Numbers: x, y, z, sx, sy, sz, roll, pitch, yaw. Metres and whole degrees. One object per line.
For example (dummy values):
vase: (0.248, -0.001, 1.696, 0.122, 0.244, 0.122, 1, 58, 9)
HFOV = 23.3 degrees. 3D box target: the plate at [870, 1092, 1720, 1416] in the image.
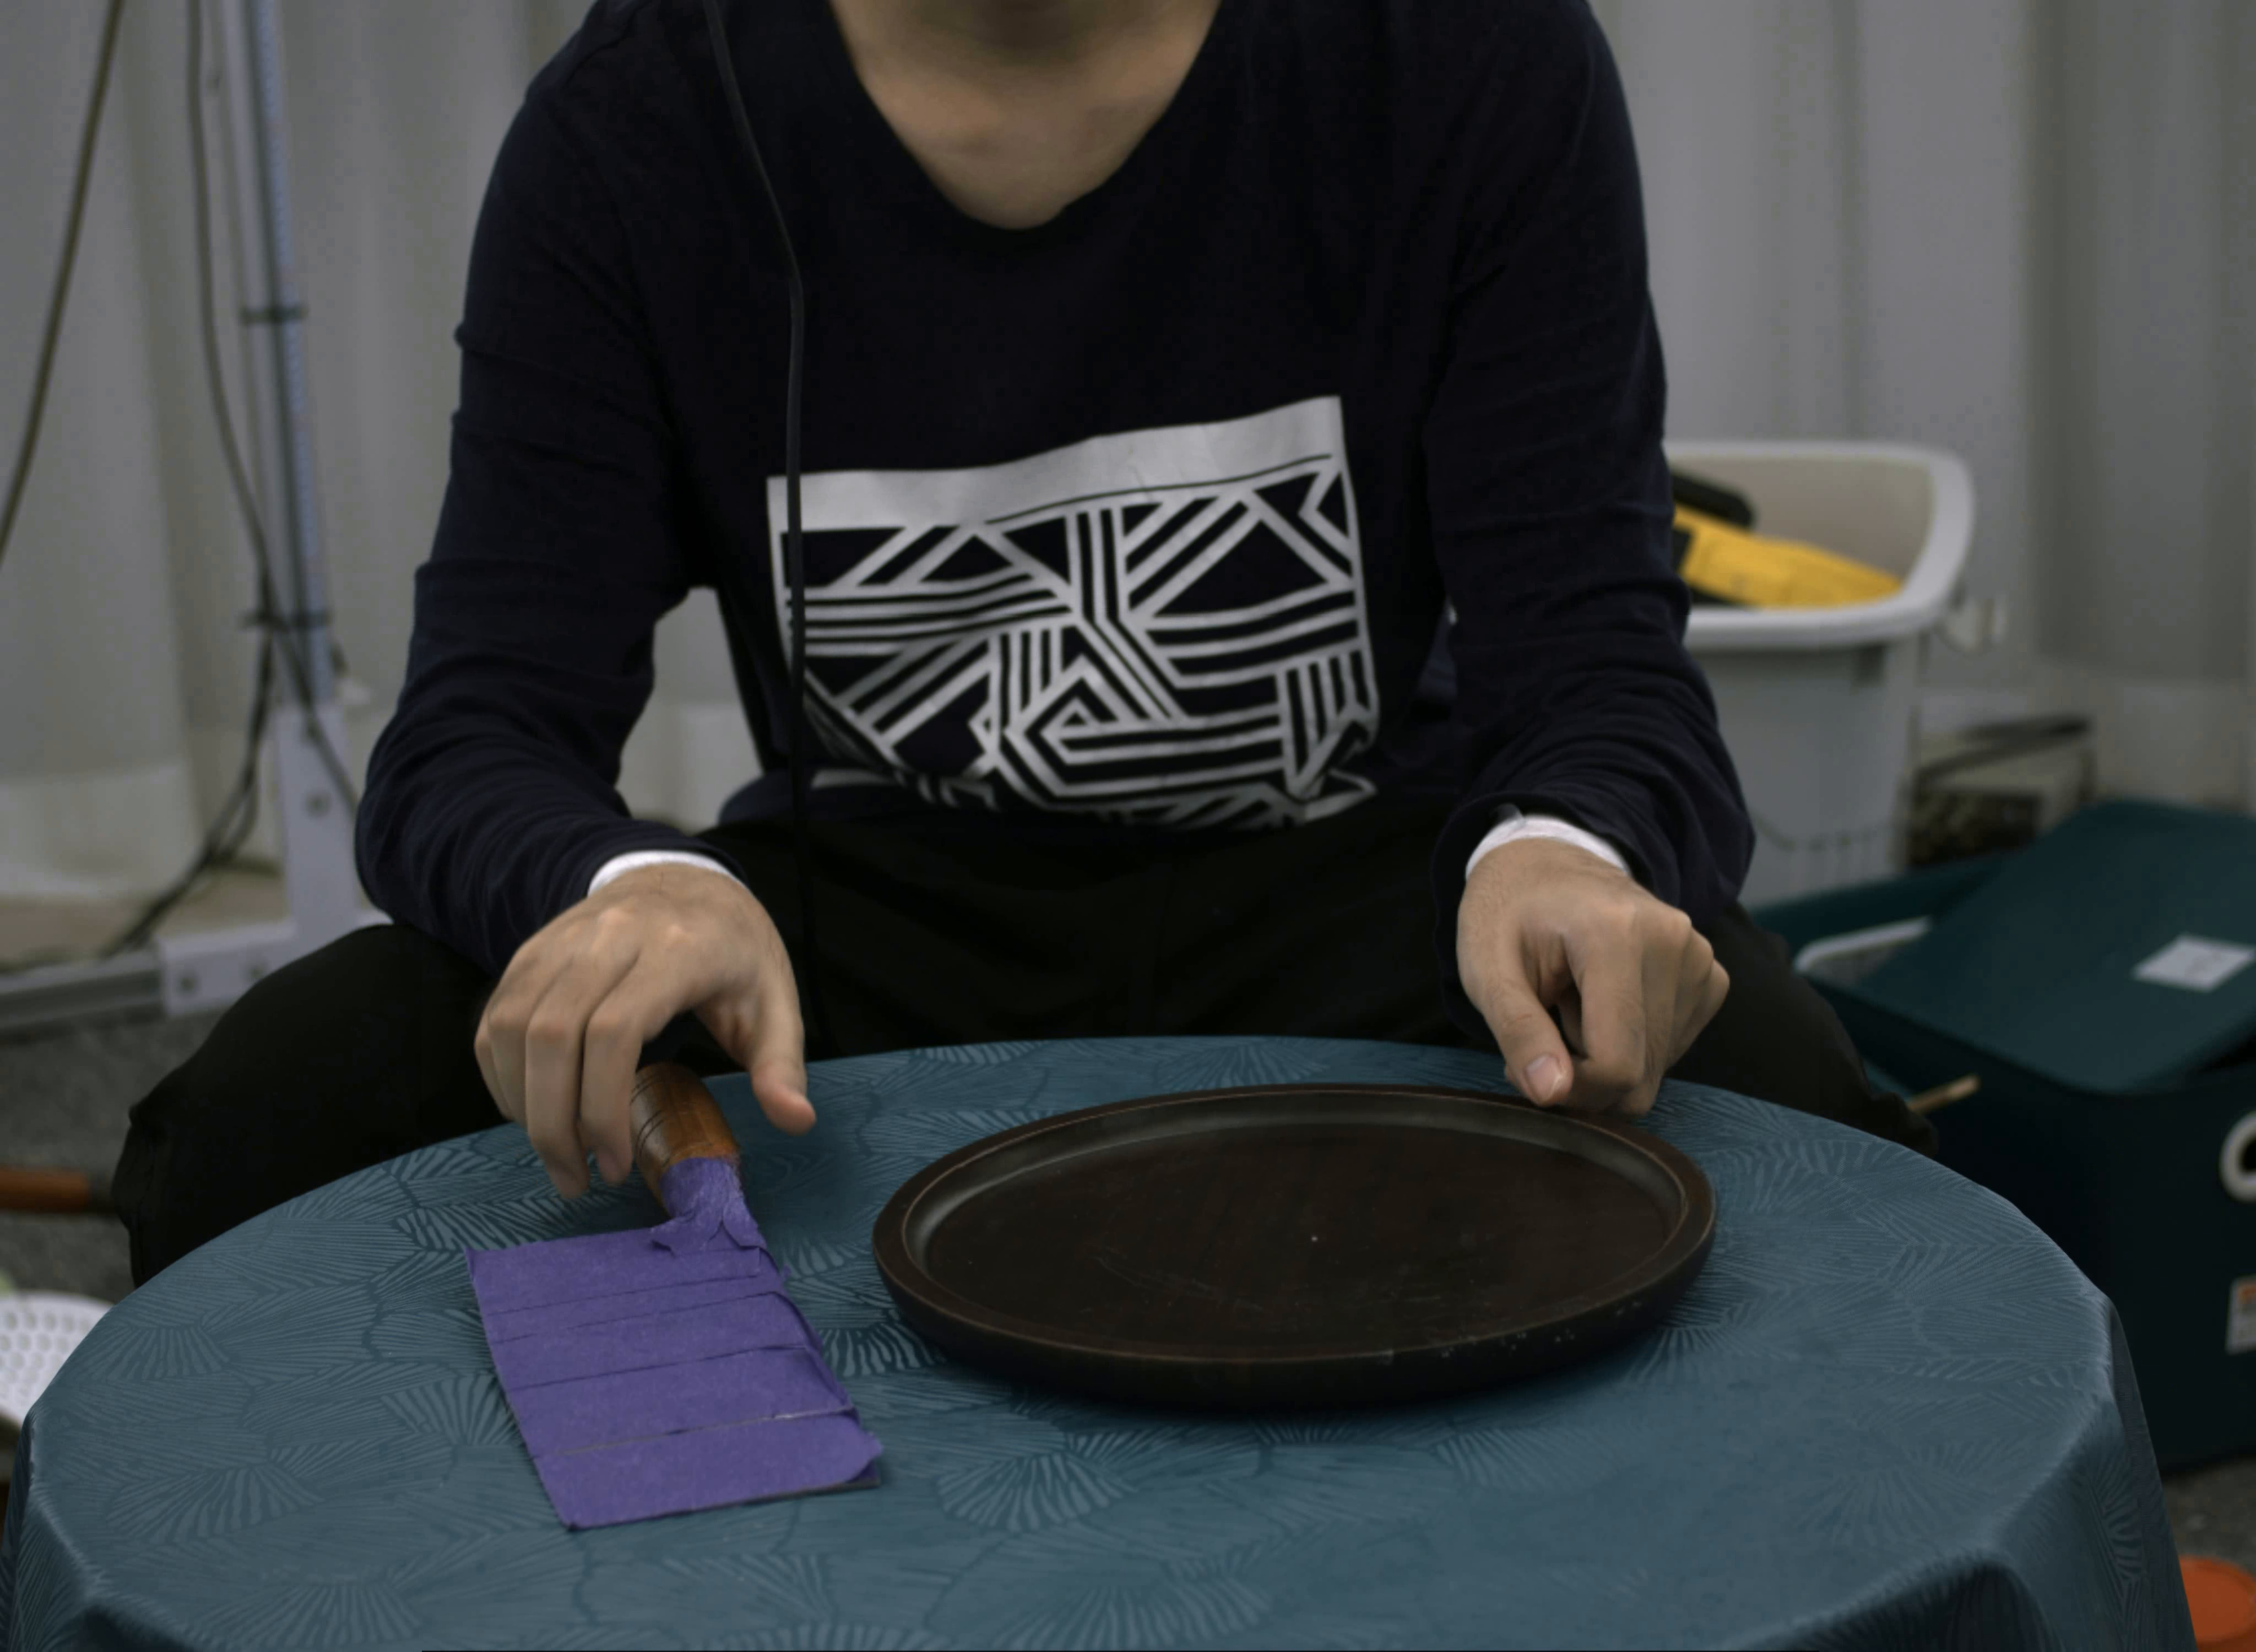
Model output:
plate: (0.049, 0.124, 1.626, 0.254, 0.029, 0.256, -2, 16, 0)

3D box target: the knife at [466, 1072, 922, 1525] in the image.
knife: (-0.145, 0.135, 1.615, 0.103, 0.032, 0.318, -6, 16, -14)
